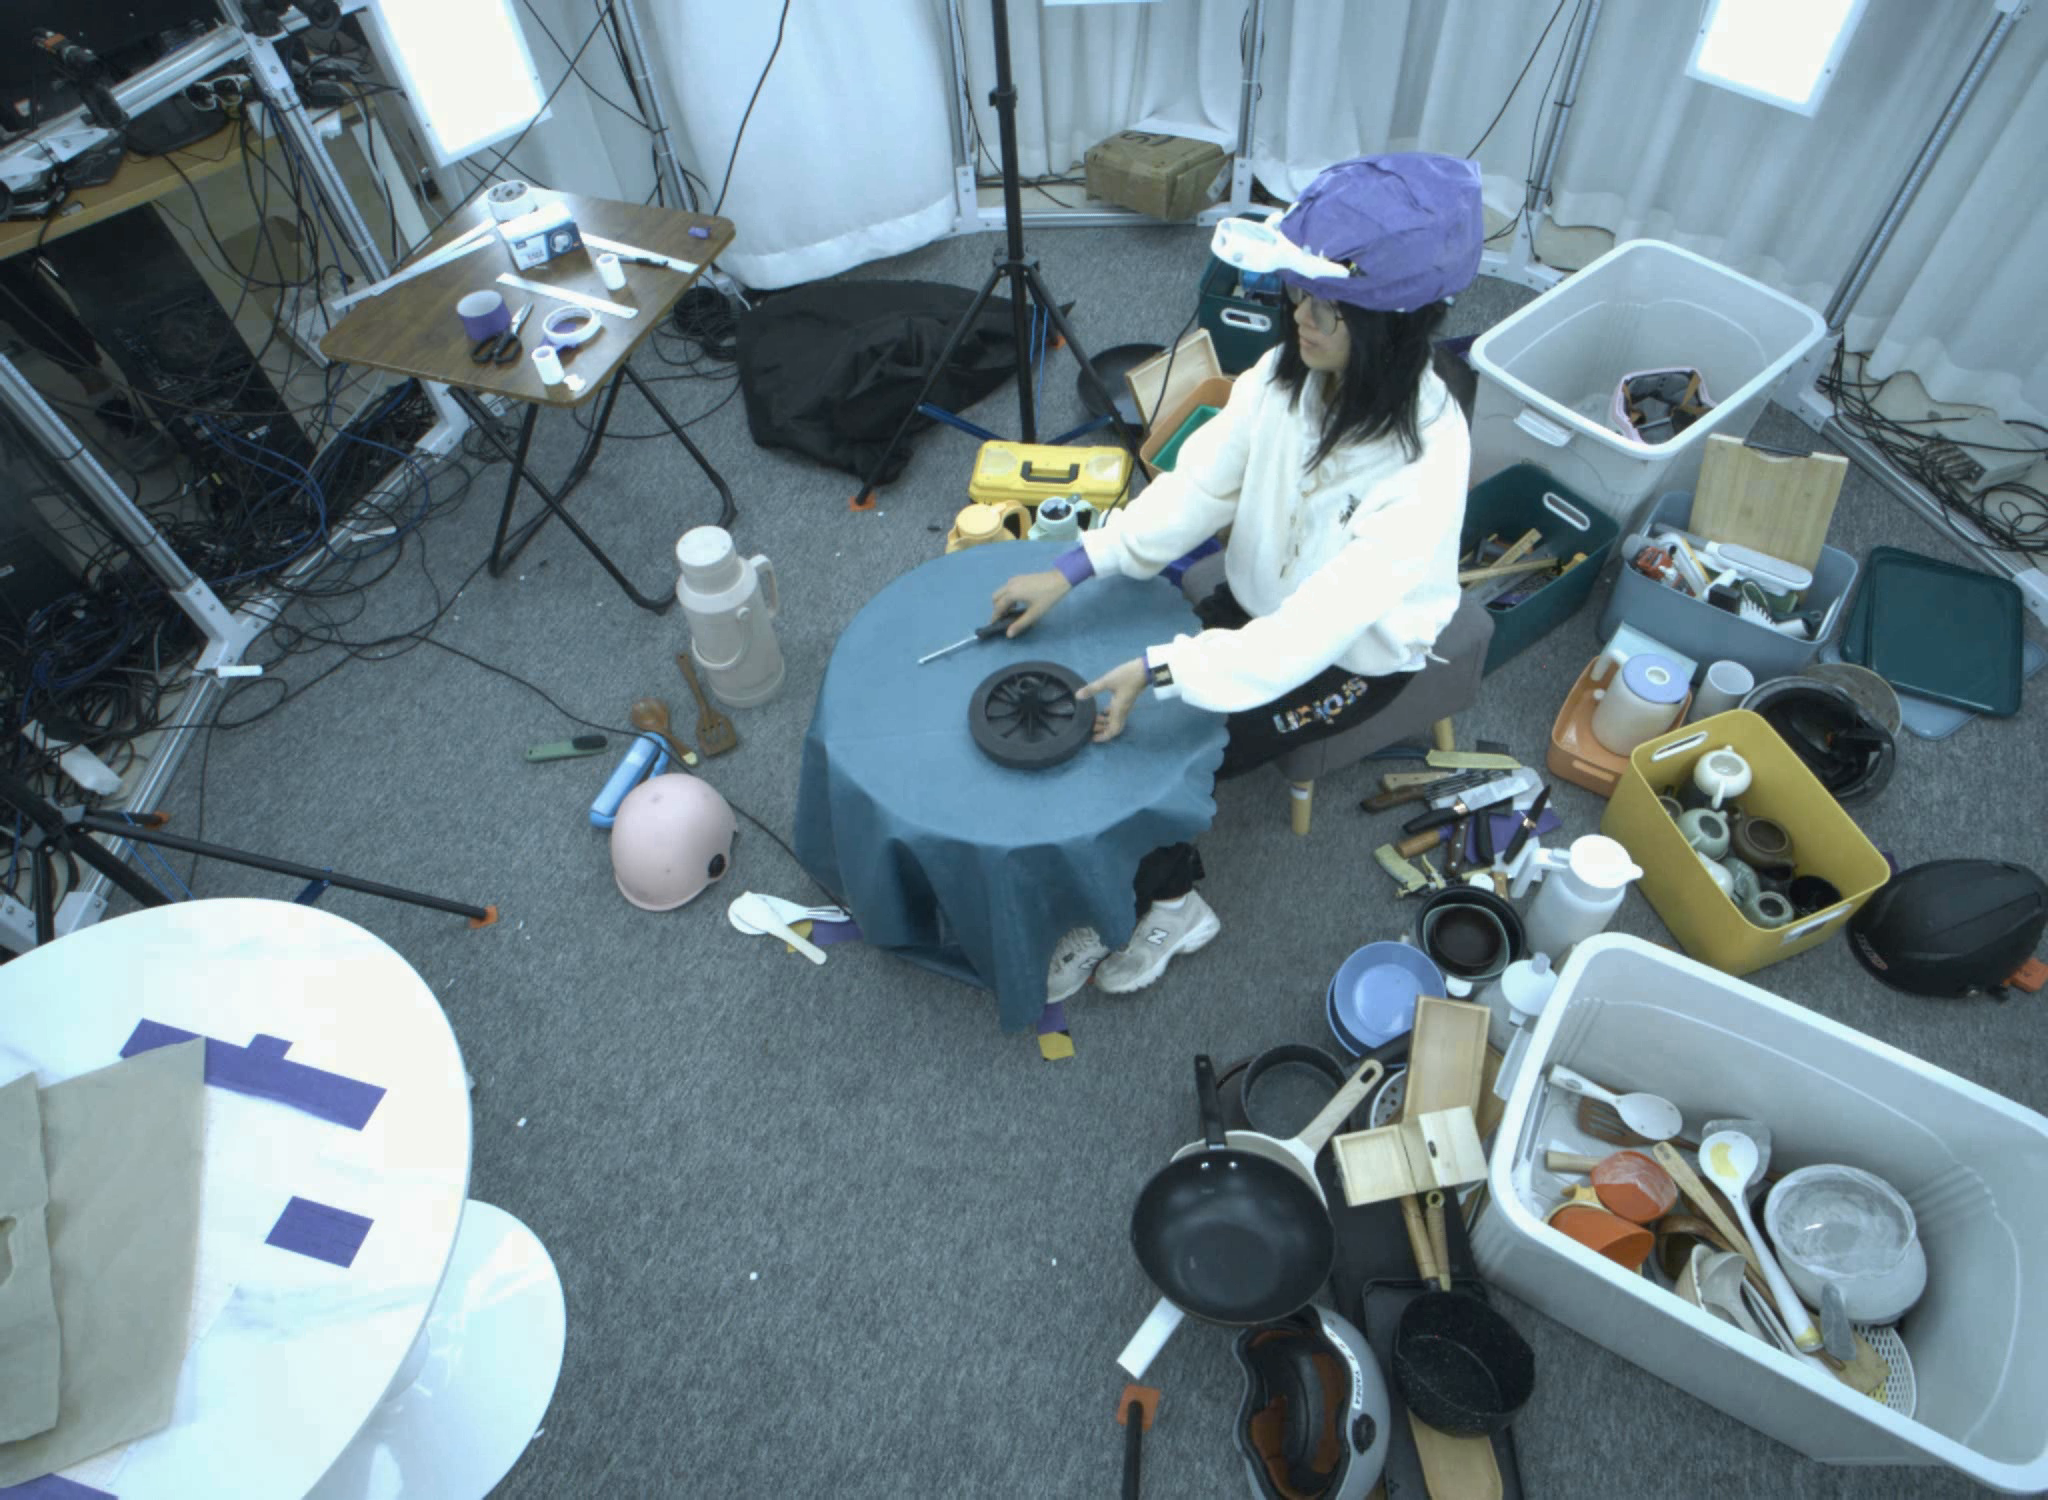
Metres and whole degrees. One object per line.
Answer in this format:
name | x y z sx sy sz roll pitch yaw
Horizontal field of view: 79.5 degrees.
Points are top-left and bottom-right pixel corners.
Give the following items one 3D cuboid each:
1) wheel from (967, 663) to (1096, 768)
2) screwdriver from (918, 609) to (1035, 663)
wheel | 0.008 -0.066 1.788 0.187 0.080 0.188 20 58 20
screwdriver | -0.073 -0.172 1.897 0.197 0.032 0.031 -25 58 -13
